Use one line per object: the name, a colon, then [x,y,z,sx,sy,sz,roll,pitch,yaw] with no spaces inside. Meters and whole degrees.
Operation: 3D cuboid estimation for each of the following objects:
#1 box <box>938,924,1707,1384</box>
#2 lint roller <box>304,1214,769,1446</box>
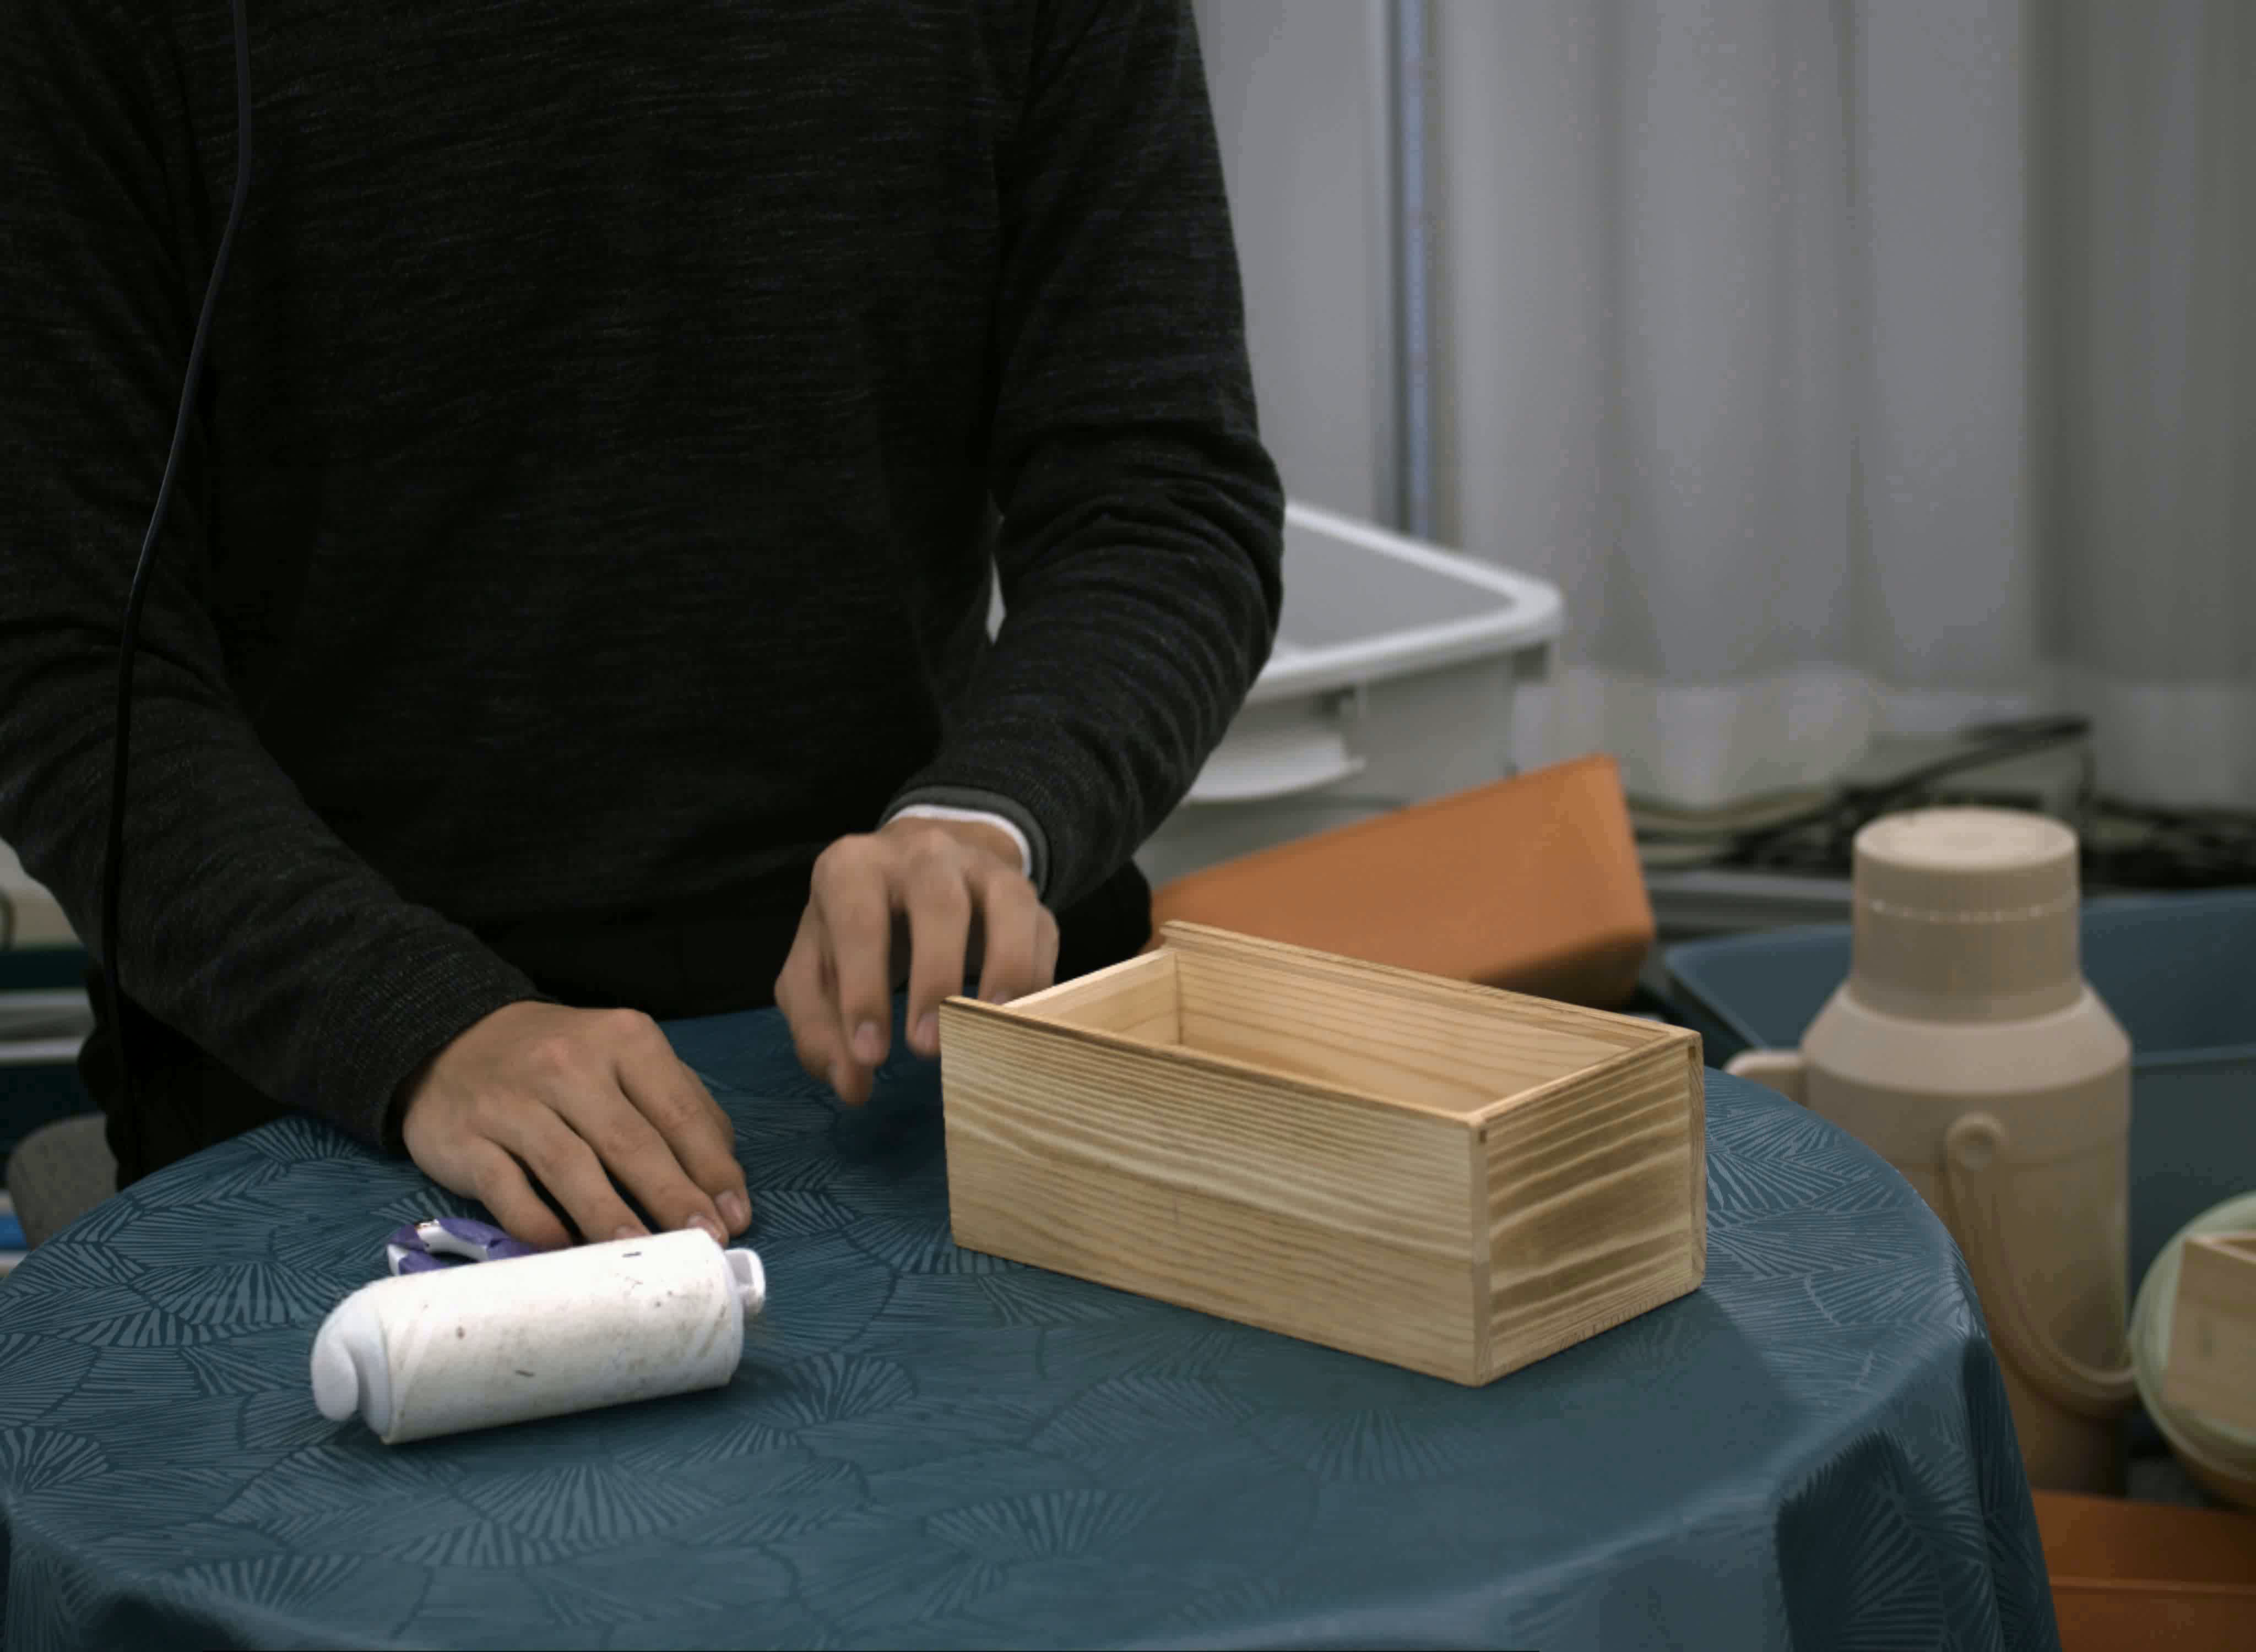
box: [0.056,0.094,1.626,0.212,0.080,0.107,10,19,42]
lint roller: [-0.186,0.128,1.607,0.132,0.050,0.182,-9,17,-17]
